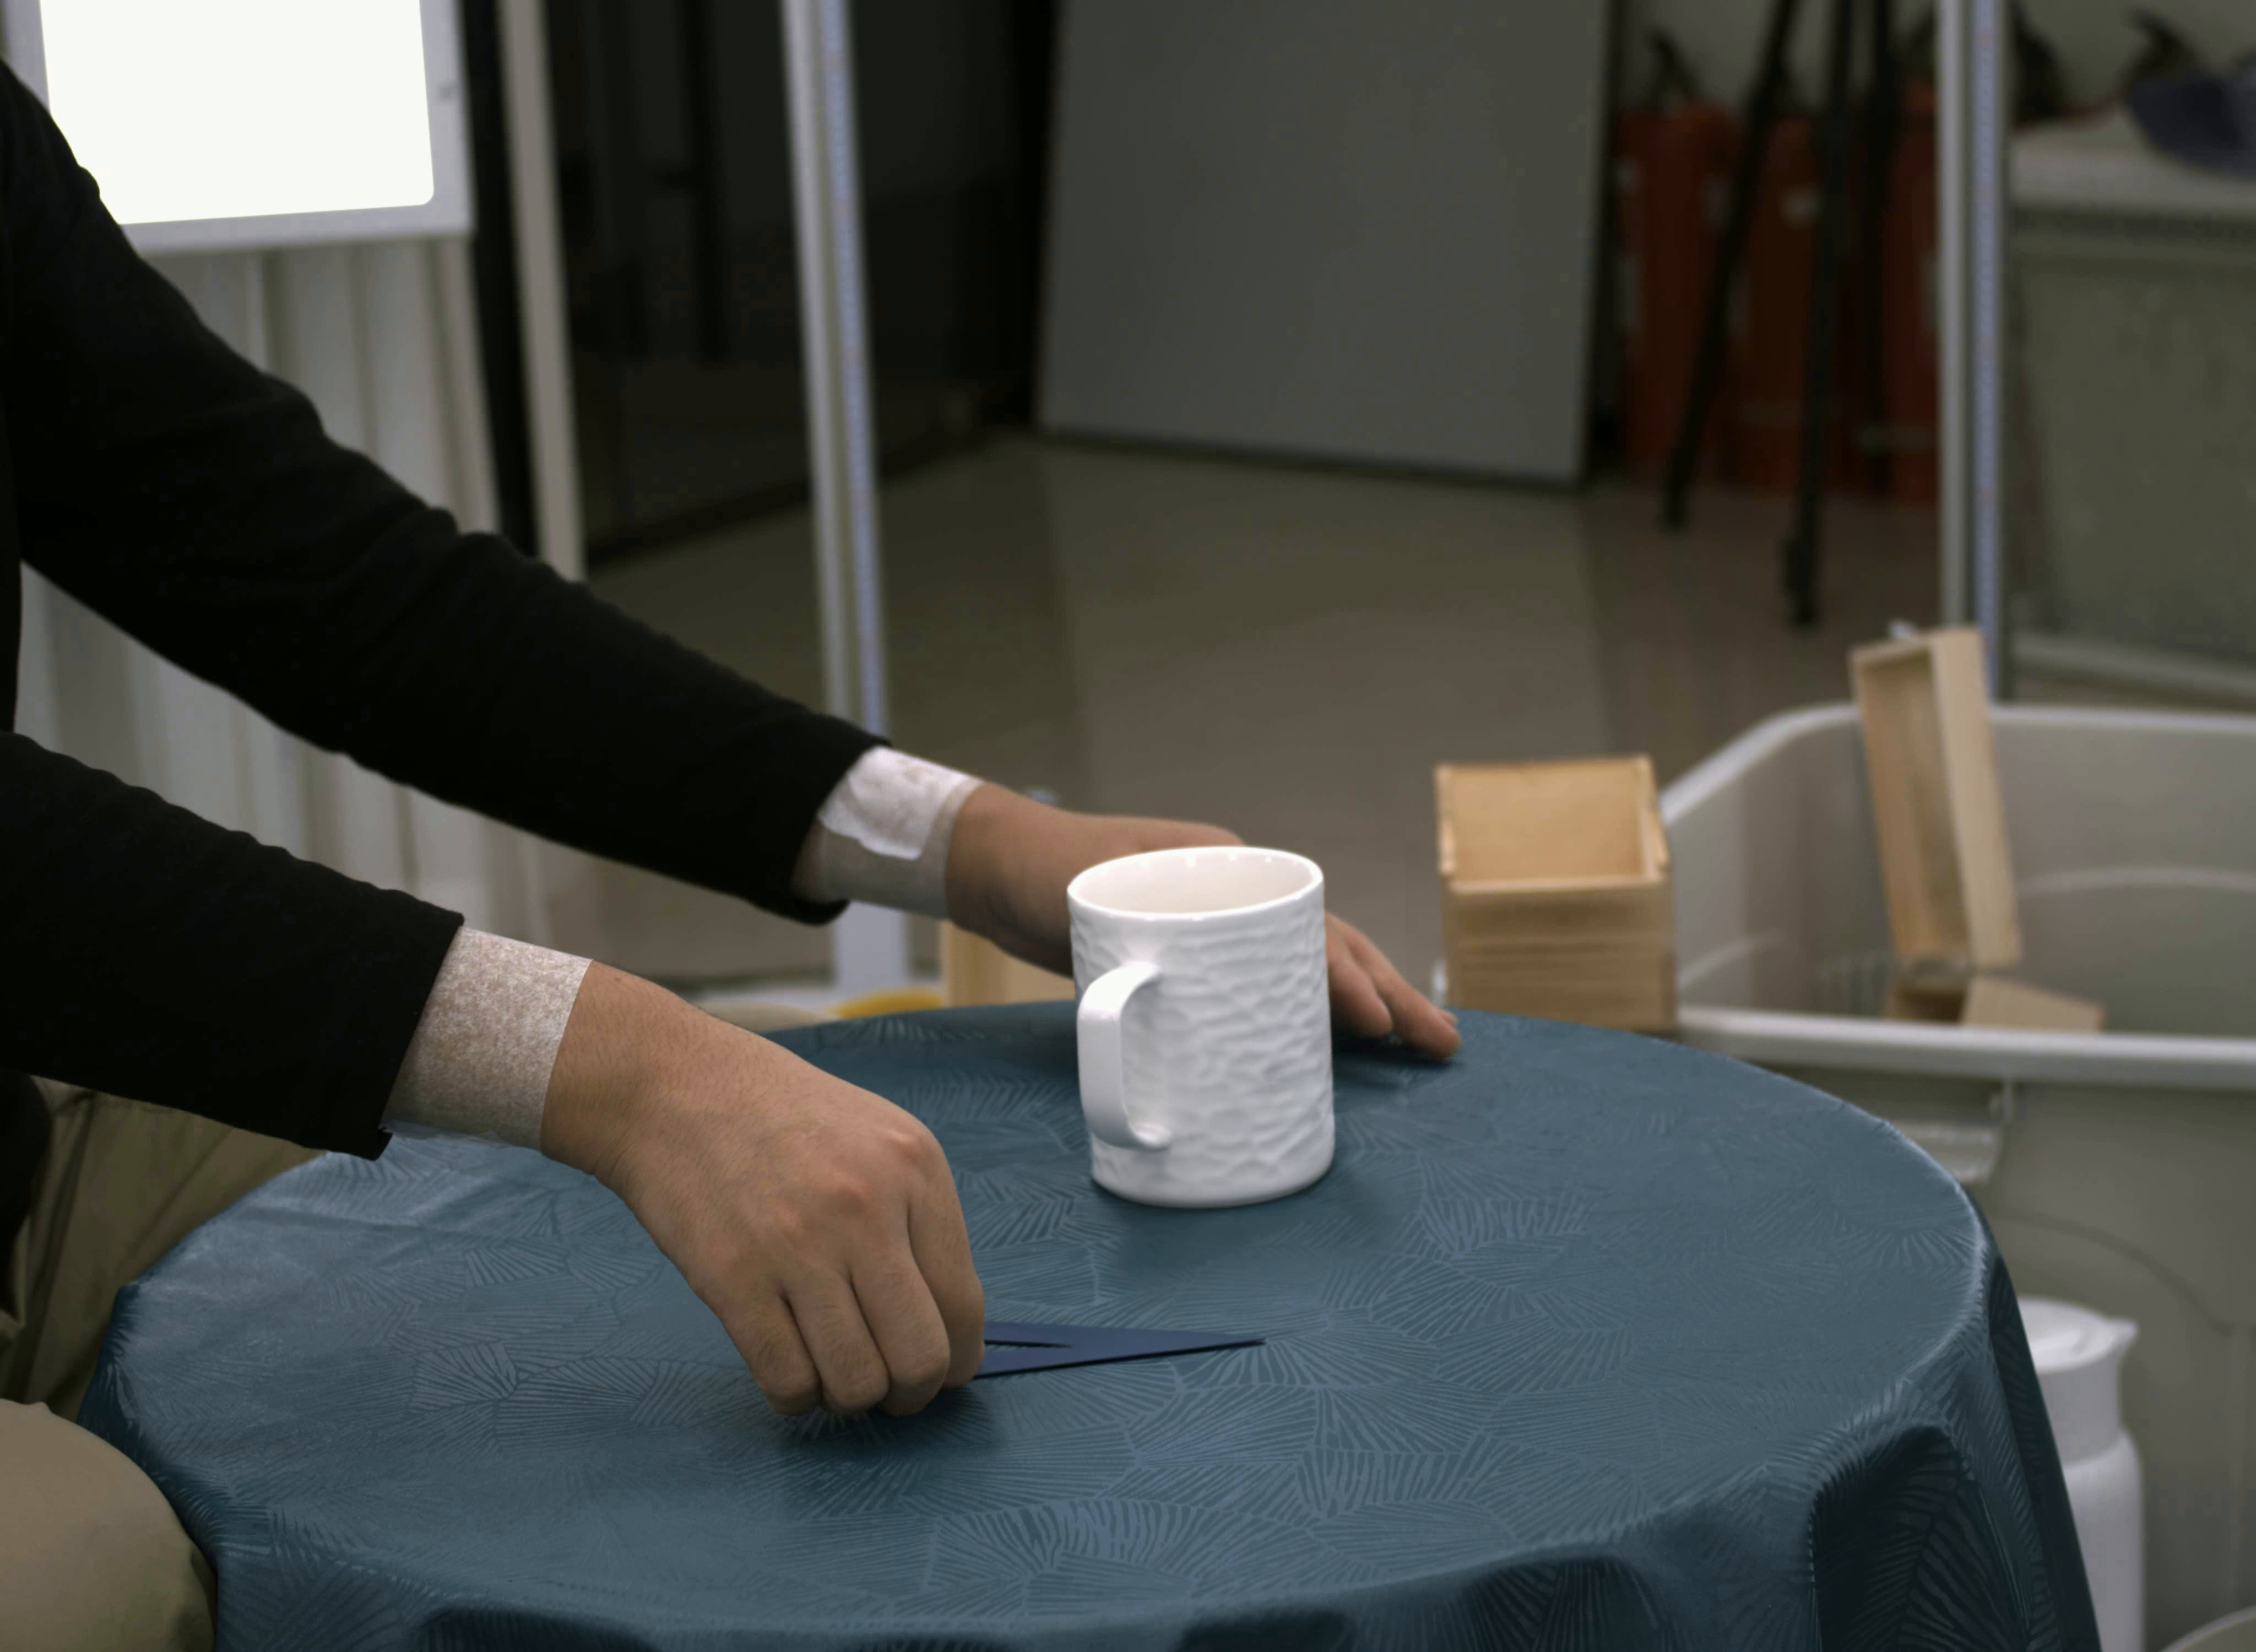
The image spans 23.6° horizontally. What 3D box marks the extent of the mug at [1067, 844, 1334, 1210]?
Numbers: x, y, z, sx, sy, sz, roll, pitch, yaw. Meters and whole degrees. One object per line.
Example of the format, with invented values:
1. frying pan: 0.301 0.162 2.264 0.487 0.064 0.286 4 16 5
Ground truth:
1. mug: 0.018 0.070 1.758 0.085 0.103 0.116 4 15 28

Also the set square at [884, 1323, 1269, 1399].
1. set square: -0.026 0.162 1.606 0.132 0.006 0.060 3 16 26
